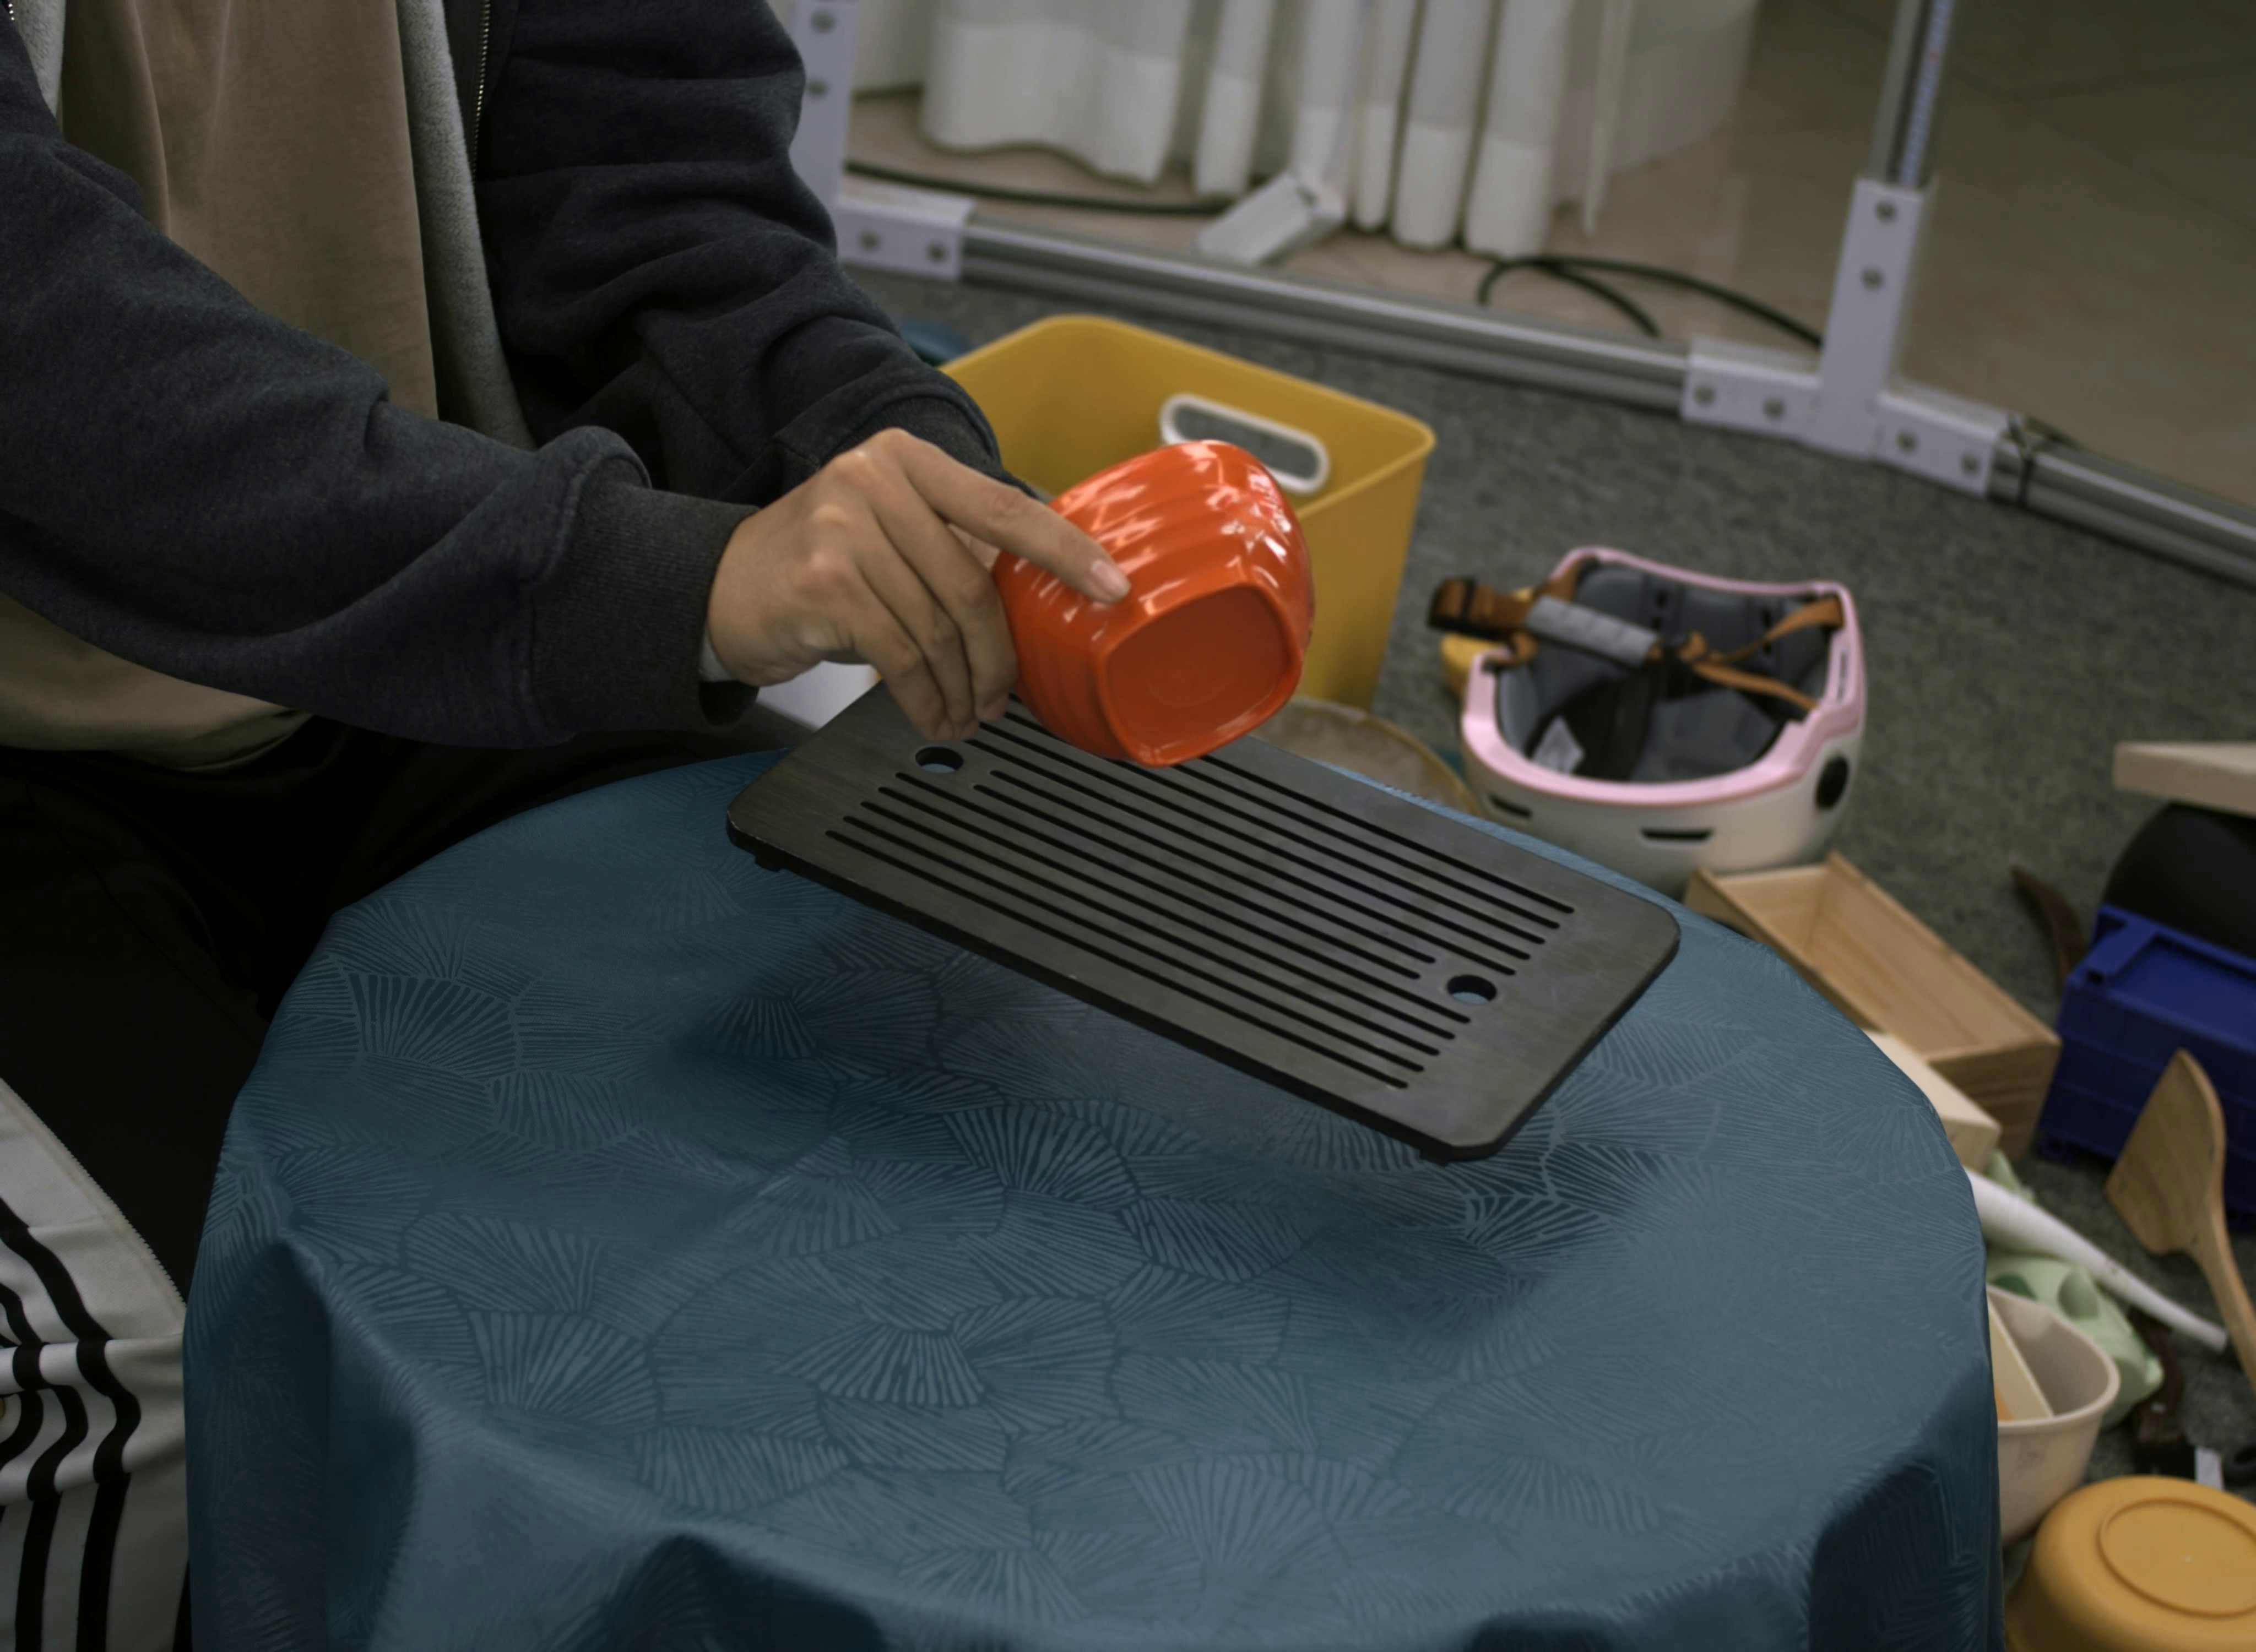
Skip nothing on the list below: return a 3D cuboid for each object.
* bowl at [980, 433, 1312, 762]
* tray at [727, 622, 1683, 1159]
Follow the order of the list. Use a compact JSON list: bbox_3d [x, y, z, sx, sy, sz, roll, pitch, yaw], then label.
[{"bbox_3d":[0.013,-0.065,1.727,0.118,0.118,0.052,-5,41,-23],"label":"bowl"},{"bbox_3d":[0.027,0.020,1.864,0.307,0.018,0.170,23,37,22],"label":"tray"}]
